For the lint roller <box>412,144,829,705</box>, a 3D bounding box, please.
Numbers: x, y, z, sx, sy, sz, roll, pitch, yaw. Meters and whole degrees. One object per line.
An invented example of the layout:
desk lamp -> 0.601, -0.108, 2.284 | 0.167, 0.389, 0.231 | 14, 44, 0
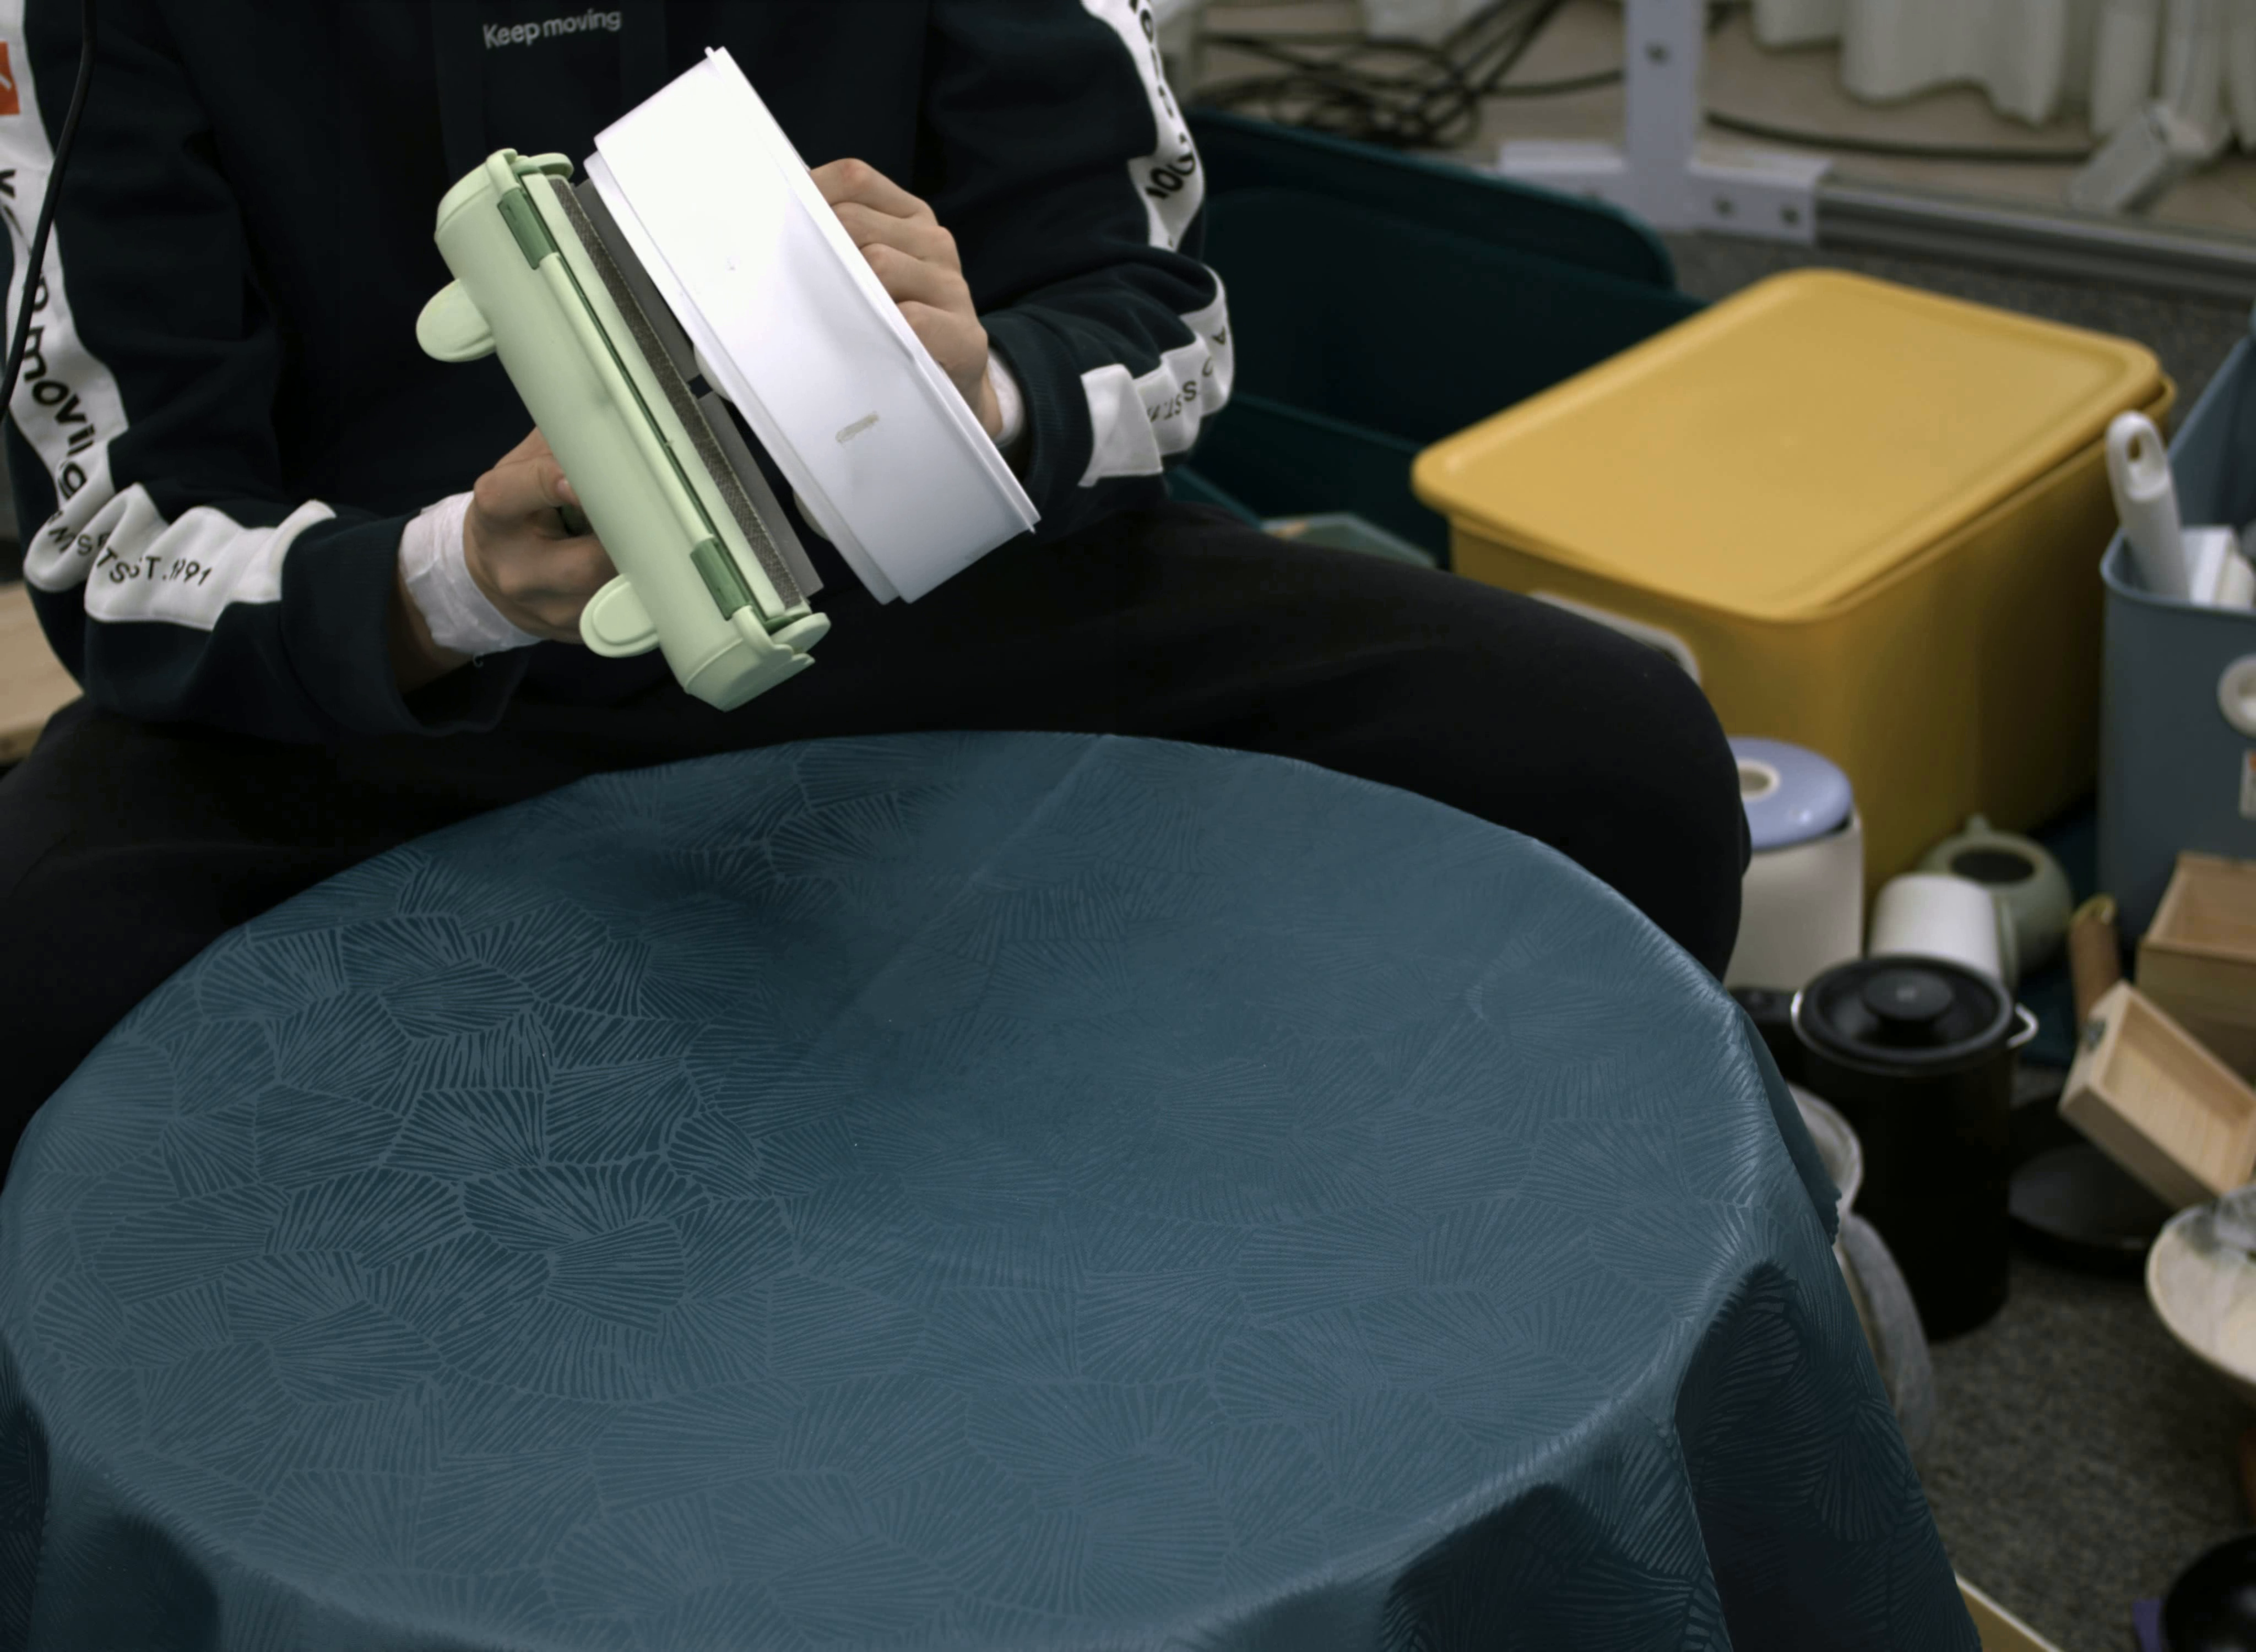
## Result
lint roller -> -0.189, -0.114, 1.927 | 0.083, 0.200, 0.180 | -25, -10, -25

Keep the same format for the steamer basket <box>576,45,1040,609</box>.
steamer basket -> -0.111, -0.168, 1.937 | 0.069, 0.202, 0.231 | -34, -1, 3
